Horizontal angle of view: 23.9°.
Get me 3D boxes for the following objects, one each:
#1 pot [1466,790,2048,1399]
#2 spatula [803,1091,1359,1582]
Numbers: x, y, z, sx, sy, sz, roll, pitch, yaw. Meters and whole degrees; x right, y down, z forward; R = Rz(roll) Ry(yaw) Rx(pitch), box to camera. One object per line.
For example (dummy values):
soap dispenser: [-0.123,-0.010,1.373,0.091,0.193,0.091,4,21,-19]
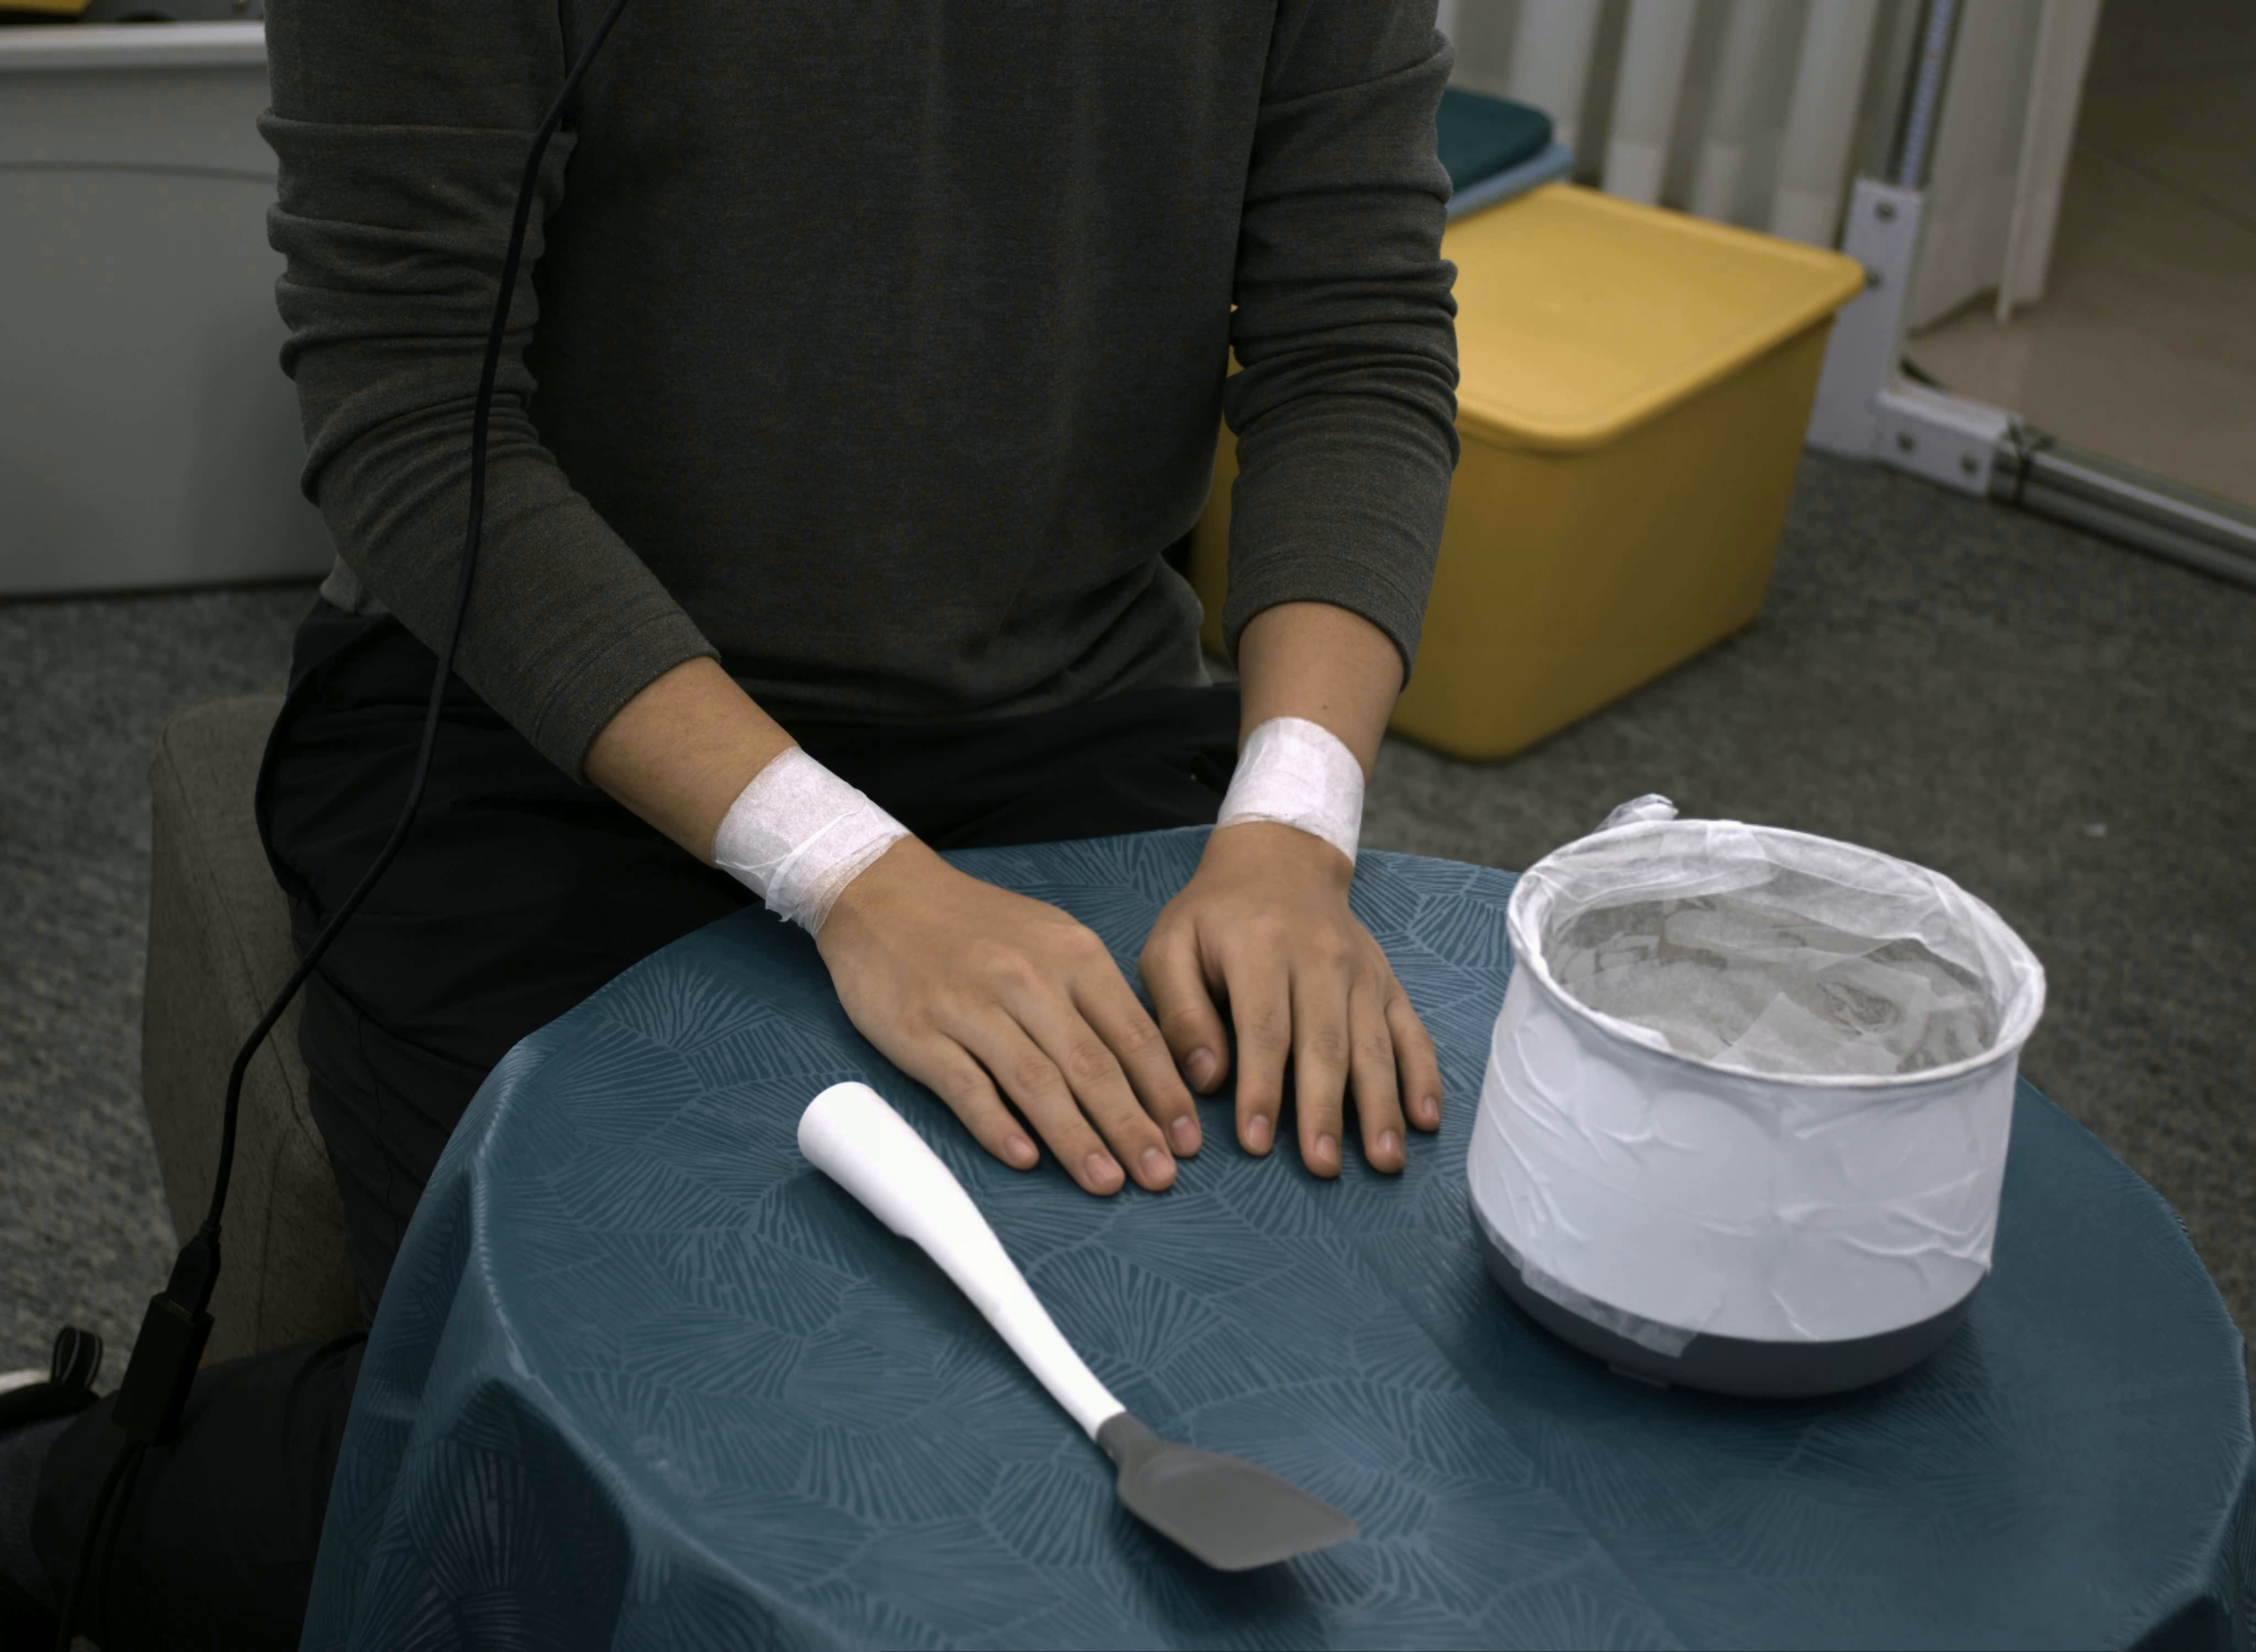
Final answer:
pot: [0.194,0.082,1.780,0.177,0.136,0.236,-4,28,-20]
spatula: [-0.023,0.164,1.684,0.058,0.032,0.290,-8,29,-30]
